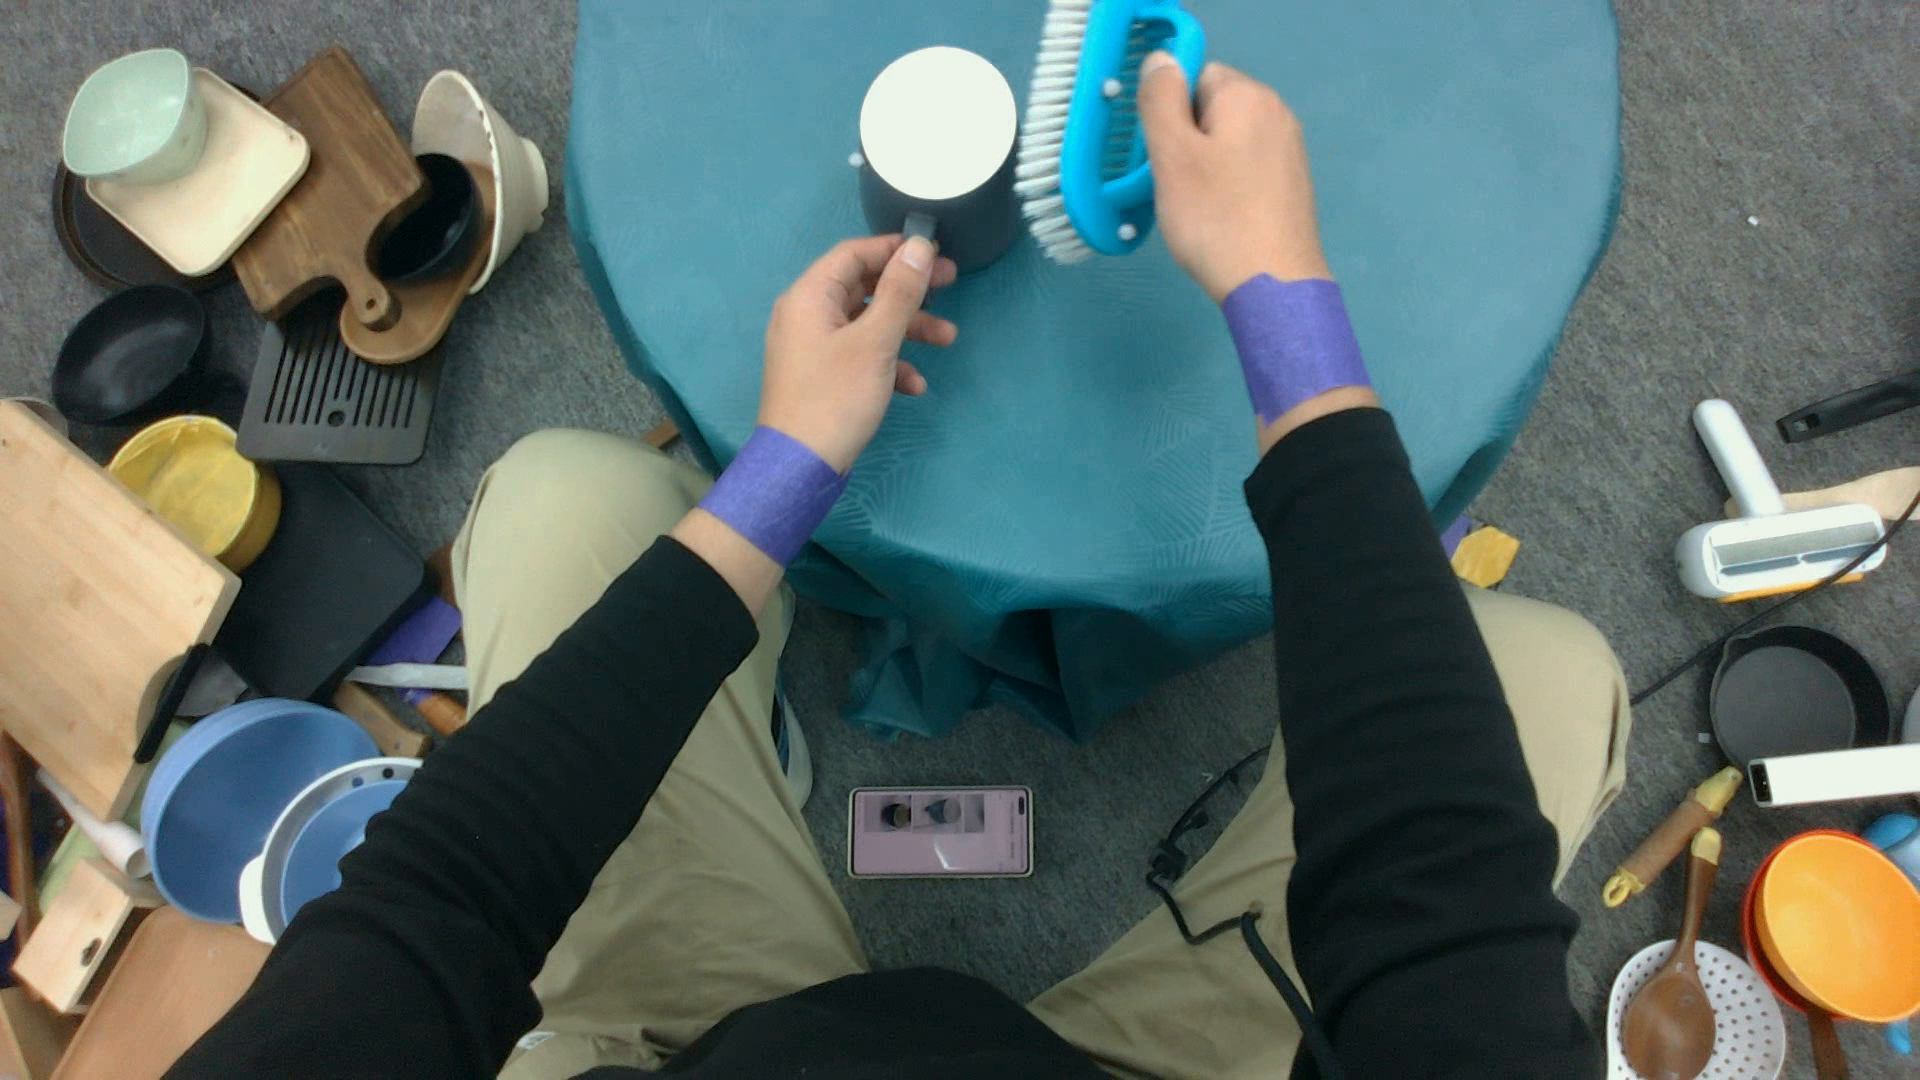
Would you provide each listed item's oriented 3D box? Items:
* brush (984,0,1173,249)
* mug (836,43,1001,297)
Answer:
[{"bbox_3d":[0.065,-0.206,0.647,0.063,0.084,0.142,4,79,36],"label":"brush"},{"bbox_3d":[-0.025,-0.189,0.728,0.093,0.089,0.123,13,77,4],"label":"mug"}]
